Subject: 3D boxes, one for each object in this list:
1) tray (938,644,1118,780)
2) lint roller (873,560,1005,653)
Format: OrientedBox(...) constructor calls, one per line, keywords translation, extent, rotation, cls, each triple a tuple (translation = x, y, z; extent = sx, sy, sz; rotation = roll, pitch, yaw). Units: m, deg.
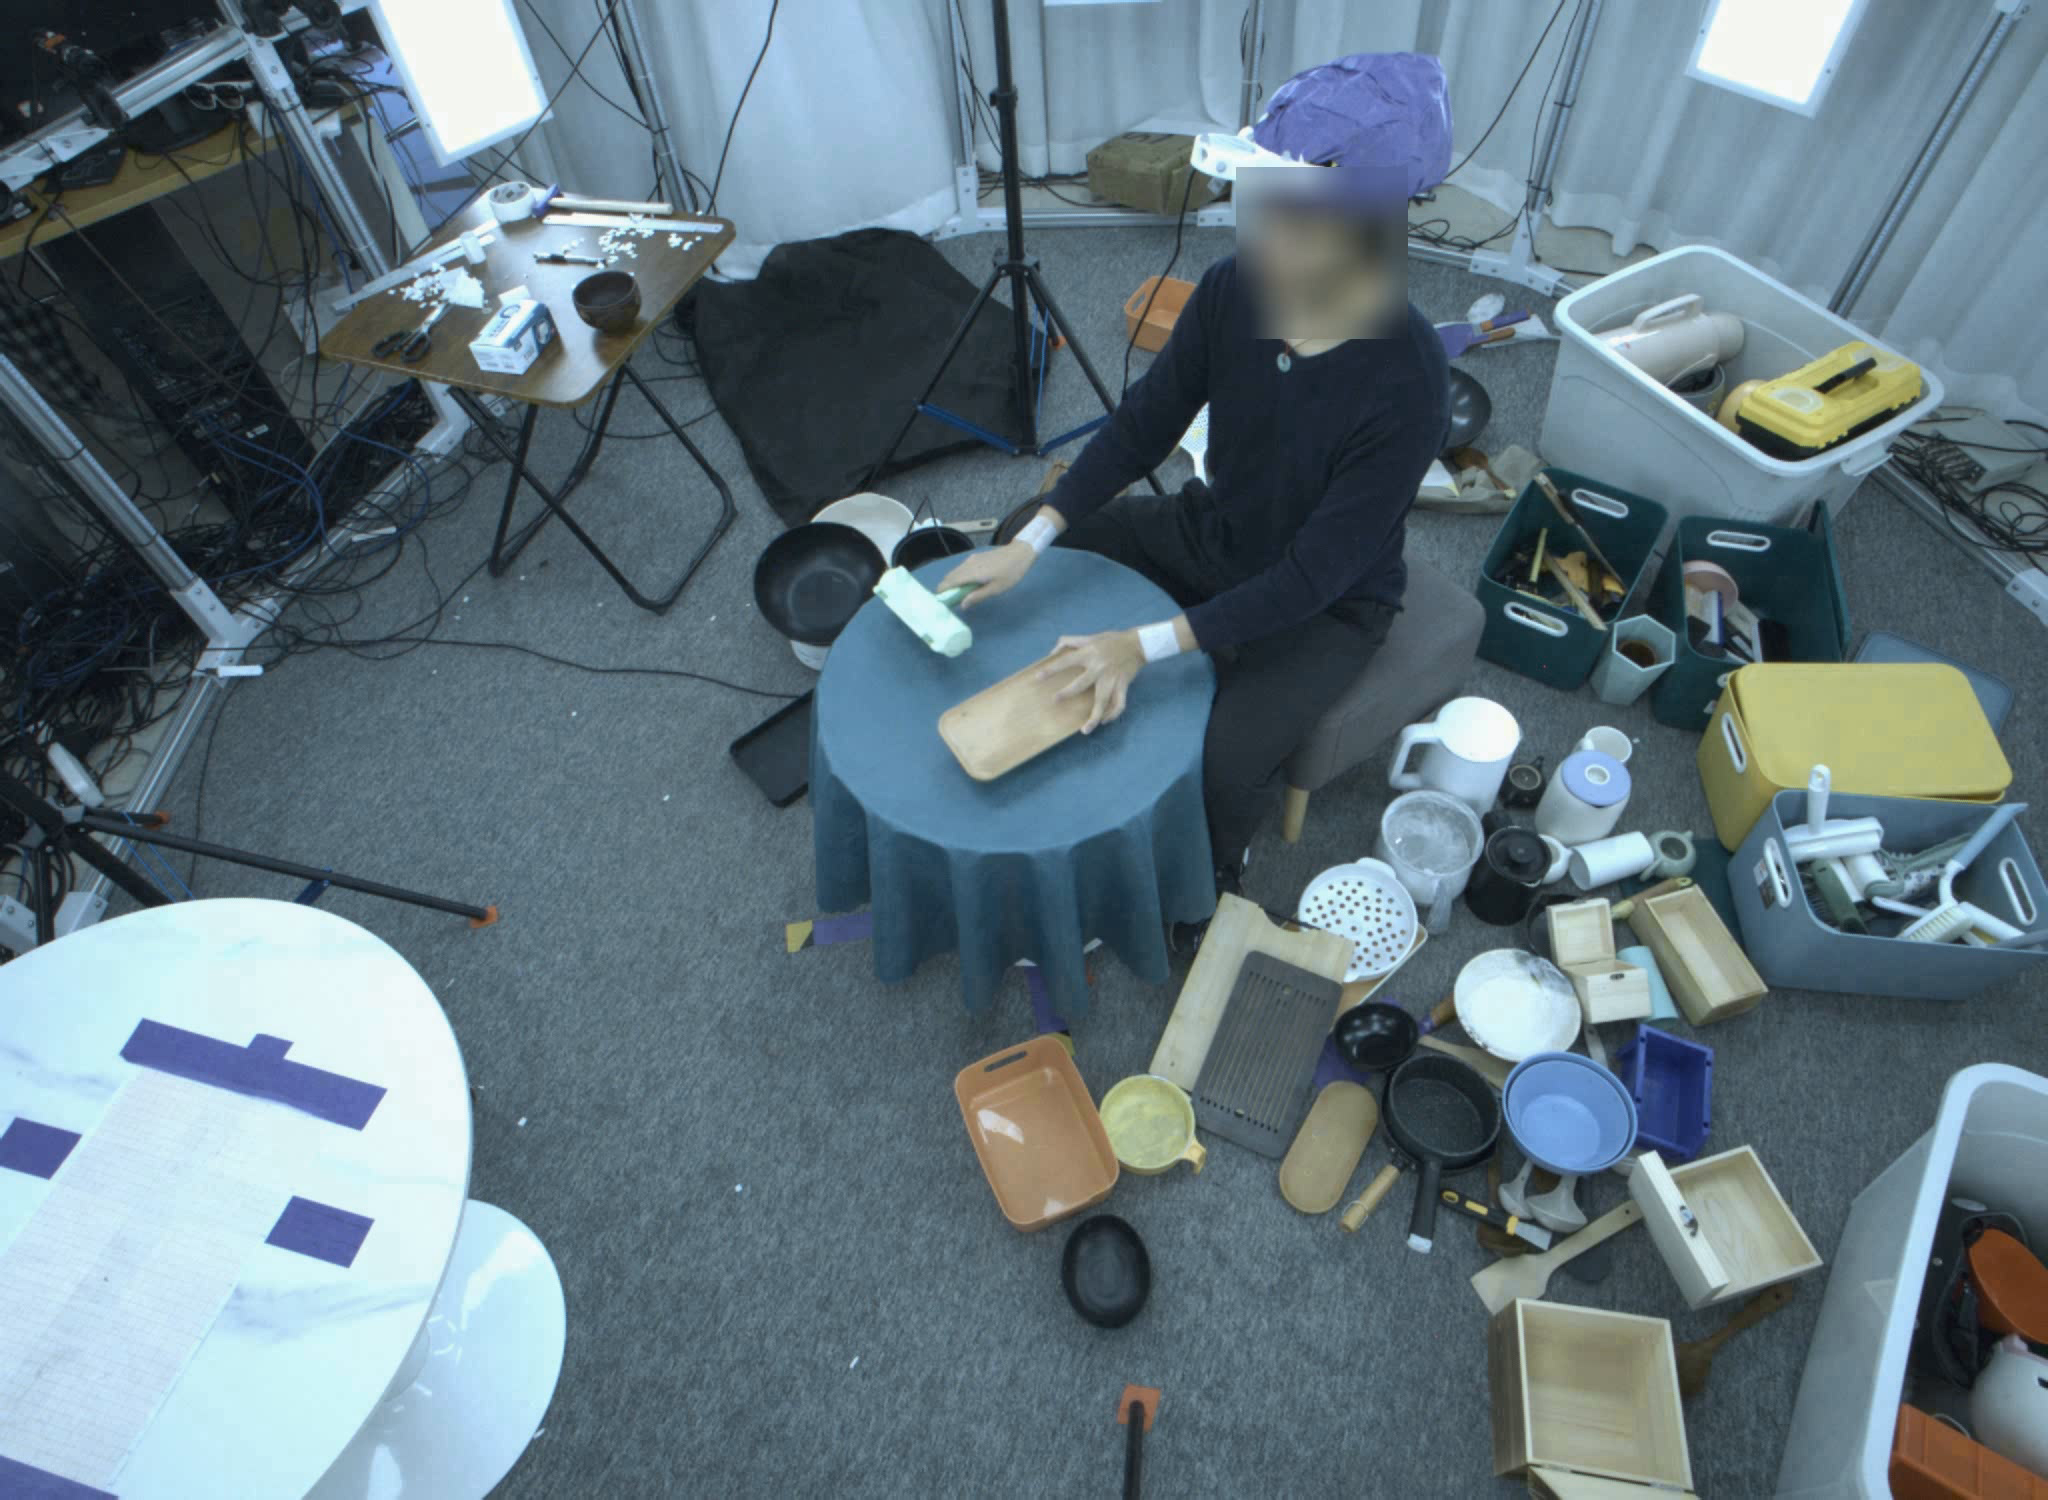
OrientedBox(translation=(0.006, -0.056, 1.759), extent=(0.253, 0.023, 0.129), rotation=(-28, 71, -18), cls="tray")
OrientedBox(translation=(-0.111, -0.252, 1.860), extent=(0.184, 0.083, 0.194), rotation=(-38, 55, -11), cls="lint roller")
